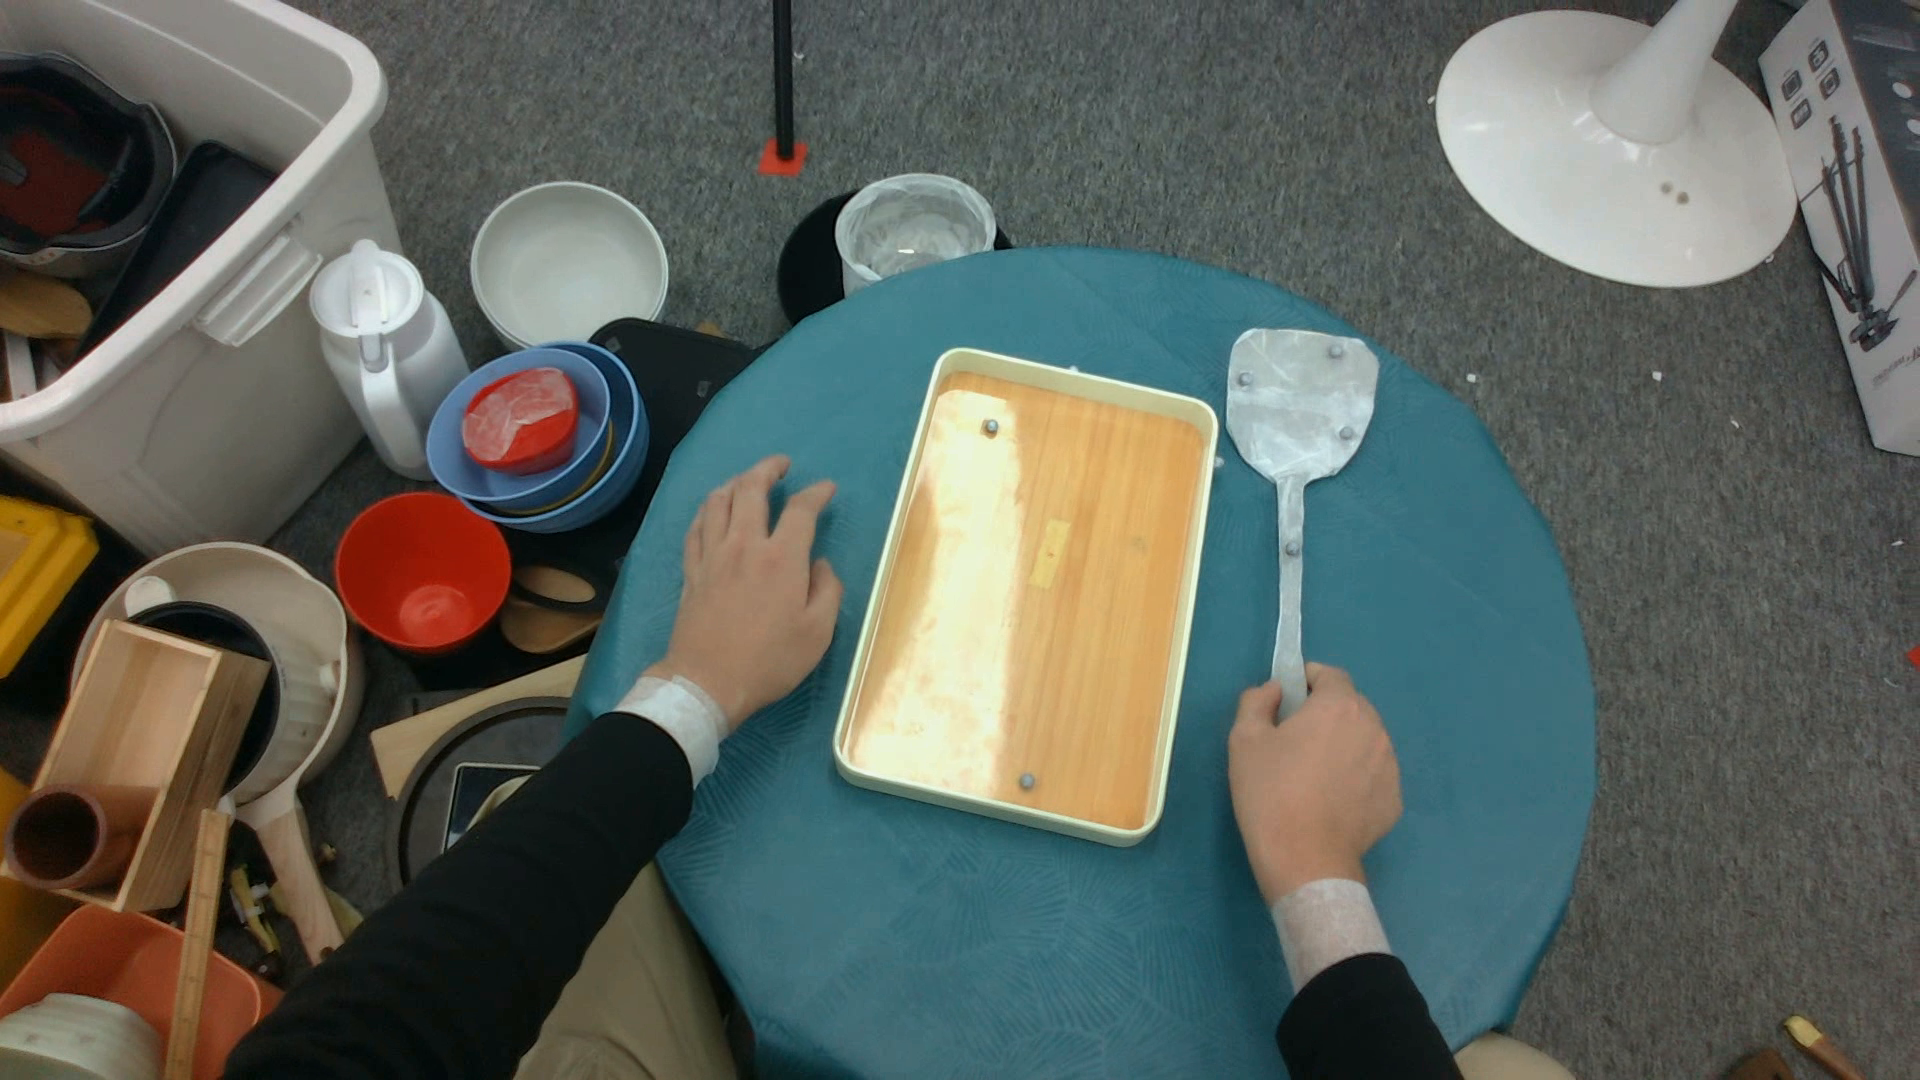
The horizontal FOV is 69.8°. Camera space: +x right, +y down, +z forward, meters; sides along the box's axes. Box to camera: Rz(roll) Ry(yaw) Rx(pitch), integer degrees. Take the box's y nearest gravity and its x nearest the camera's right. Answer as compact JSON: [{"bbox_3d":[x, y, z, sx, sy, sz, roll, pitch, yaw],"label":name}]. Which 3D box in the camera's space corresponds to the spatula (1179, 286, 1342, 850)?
[{"bbox_3d":[0.203,0.006,0.858,0.098,0.044,0.366,-8,64,12],"label":"spatula"}]

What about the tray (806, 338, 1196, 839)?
[{"bbox_3d":[0.033,0.019,0.841,0.191,0.027,0.301,13,61,1],"label":"tray"}]
